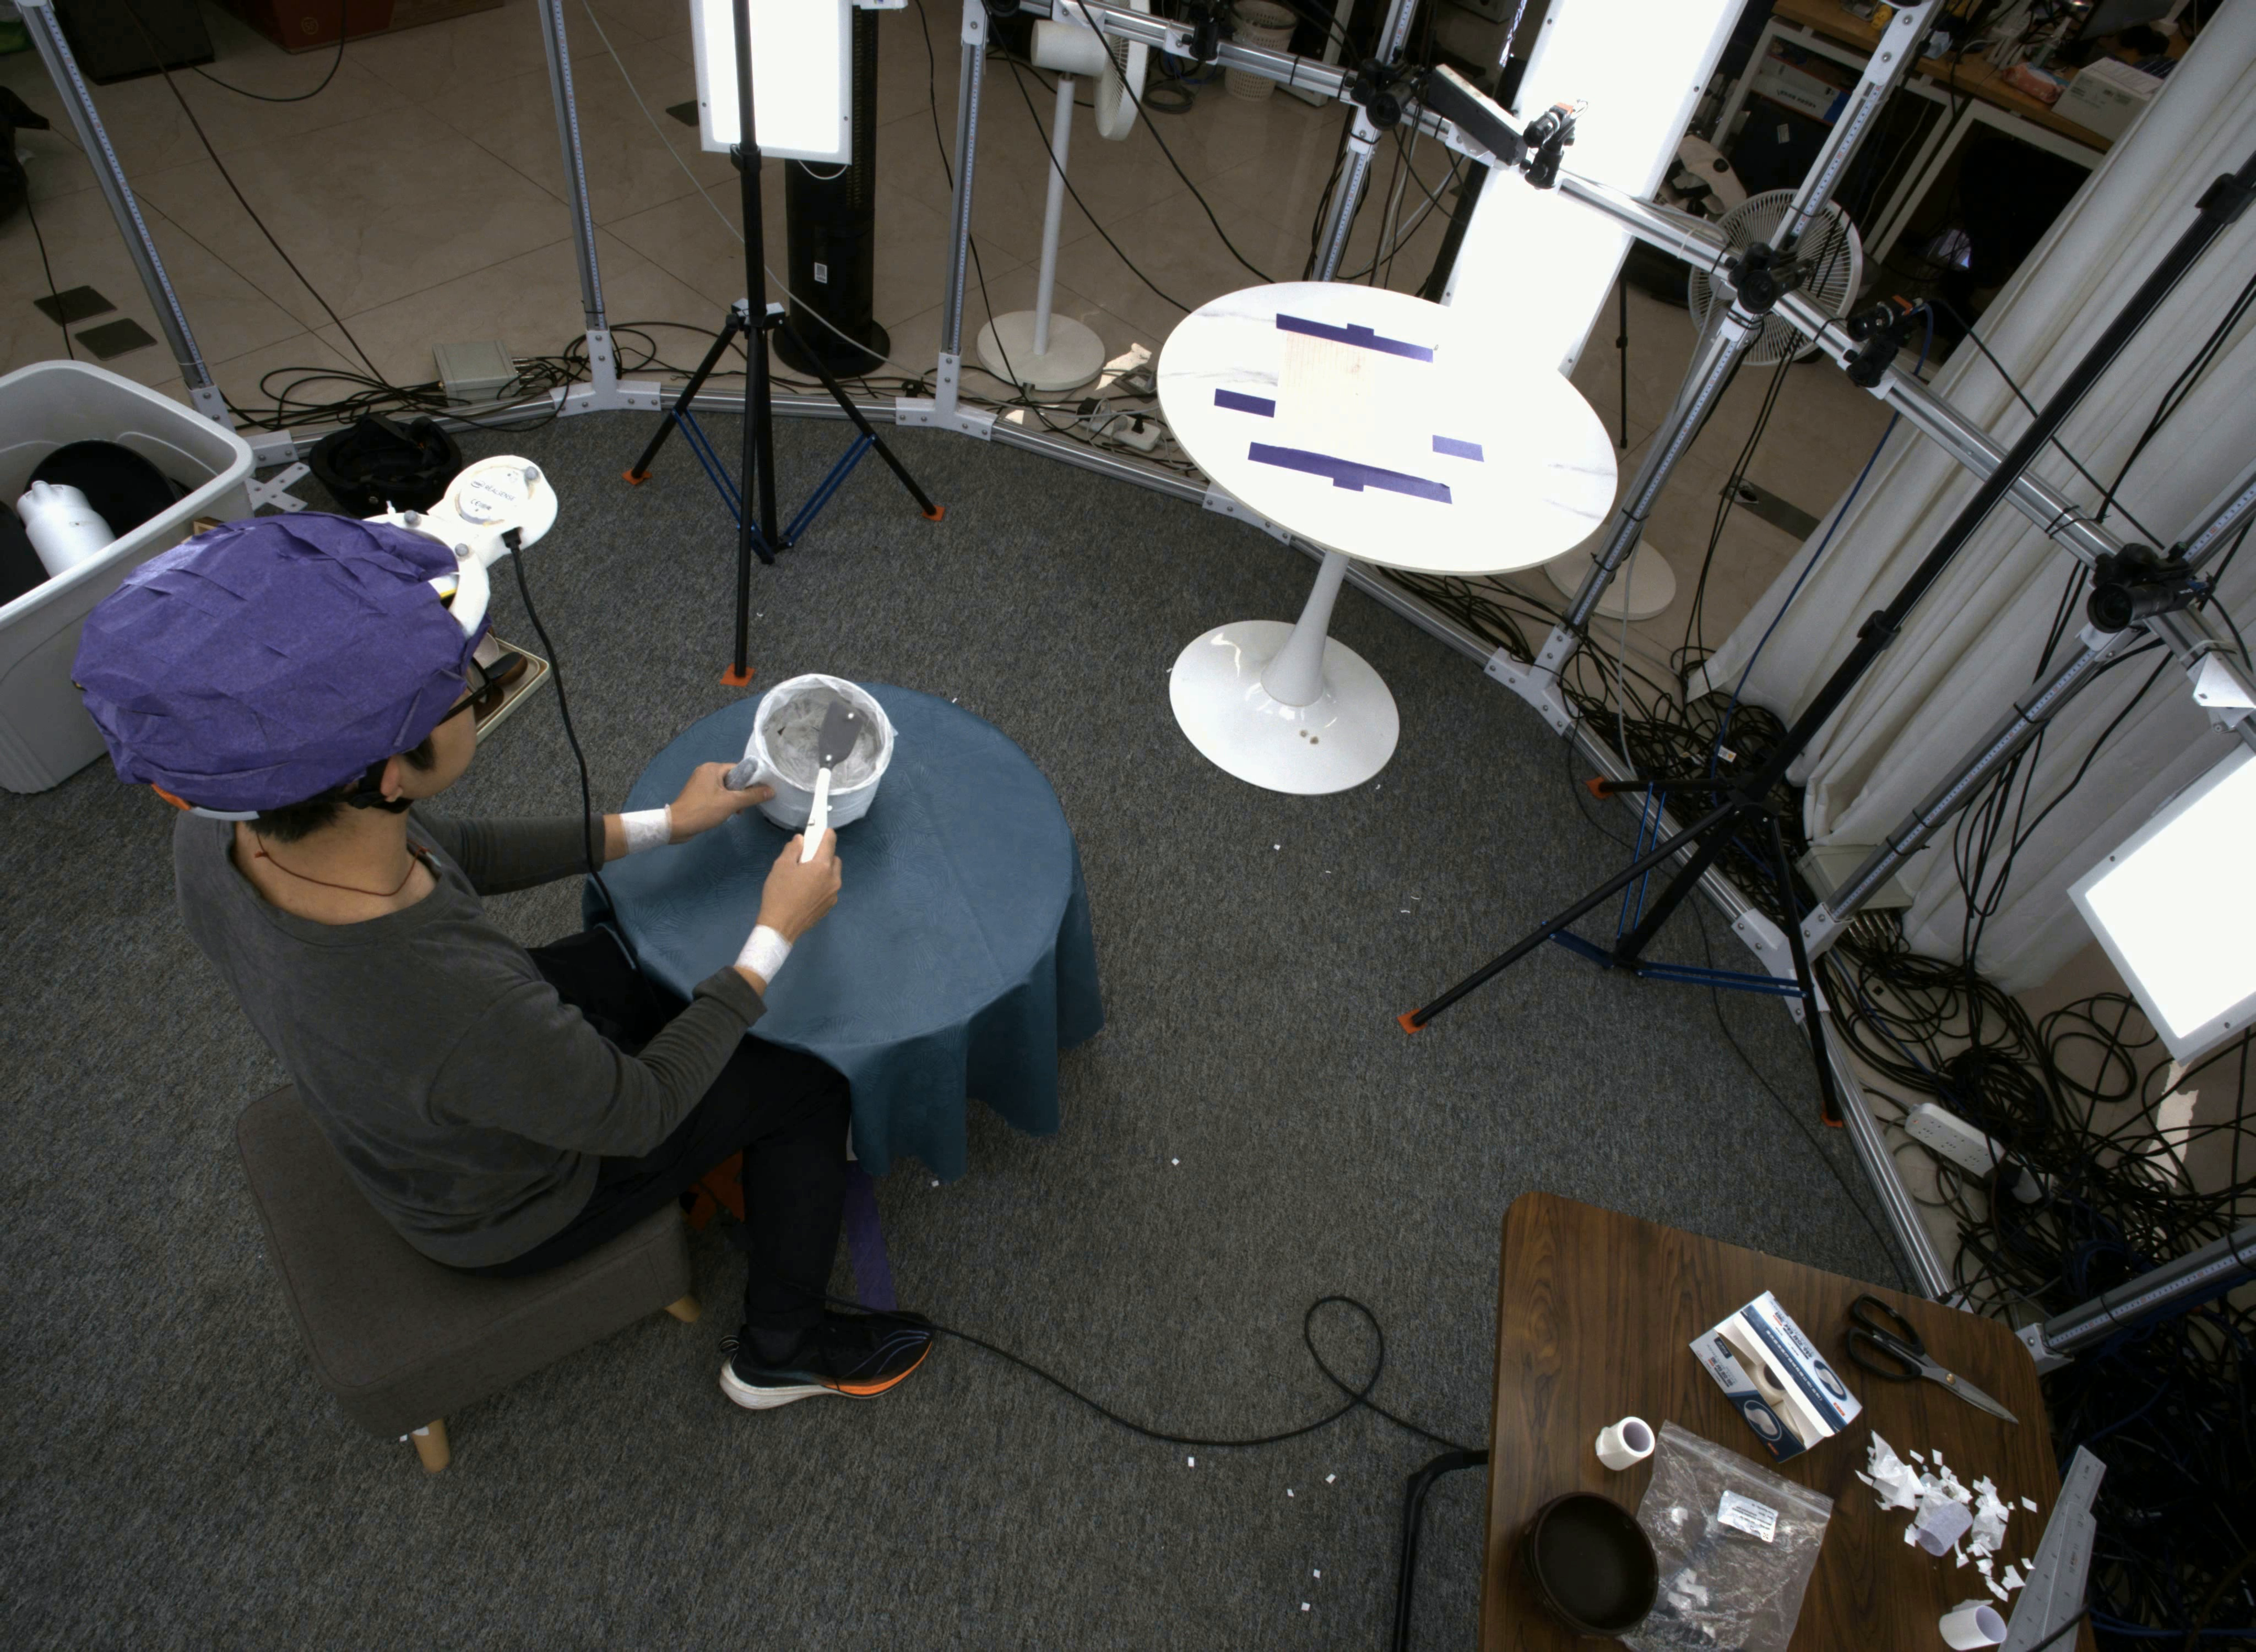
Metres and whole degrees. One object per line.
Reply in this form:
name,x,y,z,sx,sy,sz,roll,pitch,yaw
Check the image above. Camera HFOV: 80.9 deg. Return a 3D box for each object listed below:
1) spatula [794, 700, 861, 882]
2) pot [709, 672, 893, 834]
spatula,-0.374,-0.048,1.598,0.060,0.032,0.281,31,38,-29
pot,-0.429,-0.079,1.681,0.235,0.137,0.177,-29,79,-35
